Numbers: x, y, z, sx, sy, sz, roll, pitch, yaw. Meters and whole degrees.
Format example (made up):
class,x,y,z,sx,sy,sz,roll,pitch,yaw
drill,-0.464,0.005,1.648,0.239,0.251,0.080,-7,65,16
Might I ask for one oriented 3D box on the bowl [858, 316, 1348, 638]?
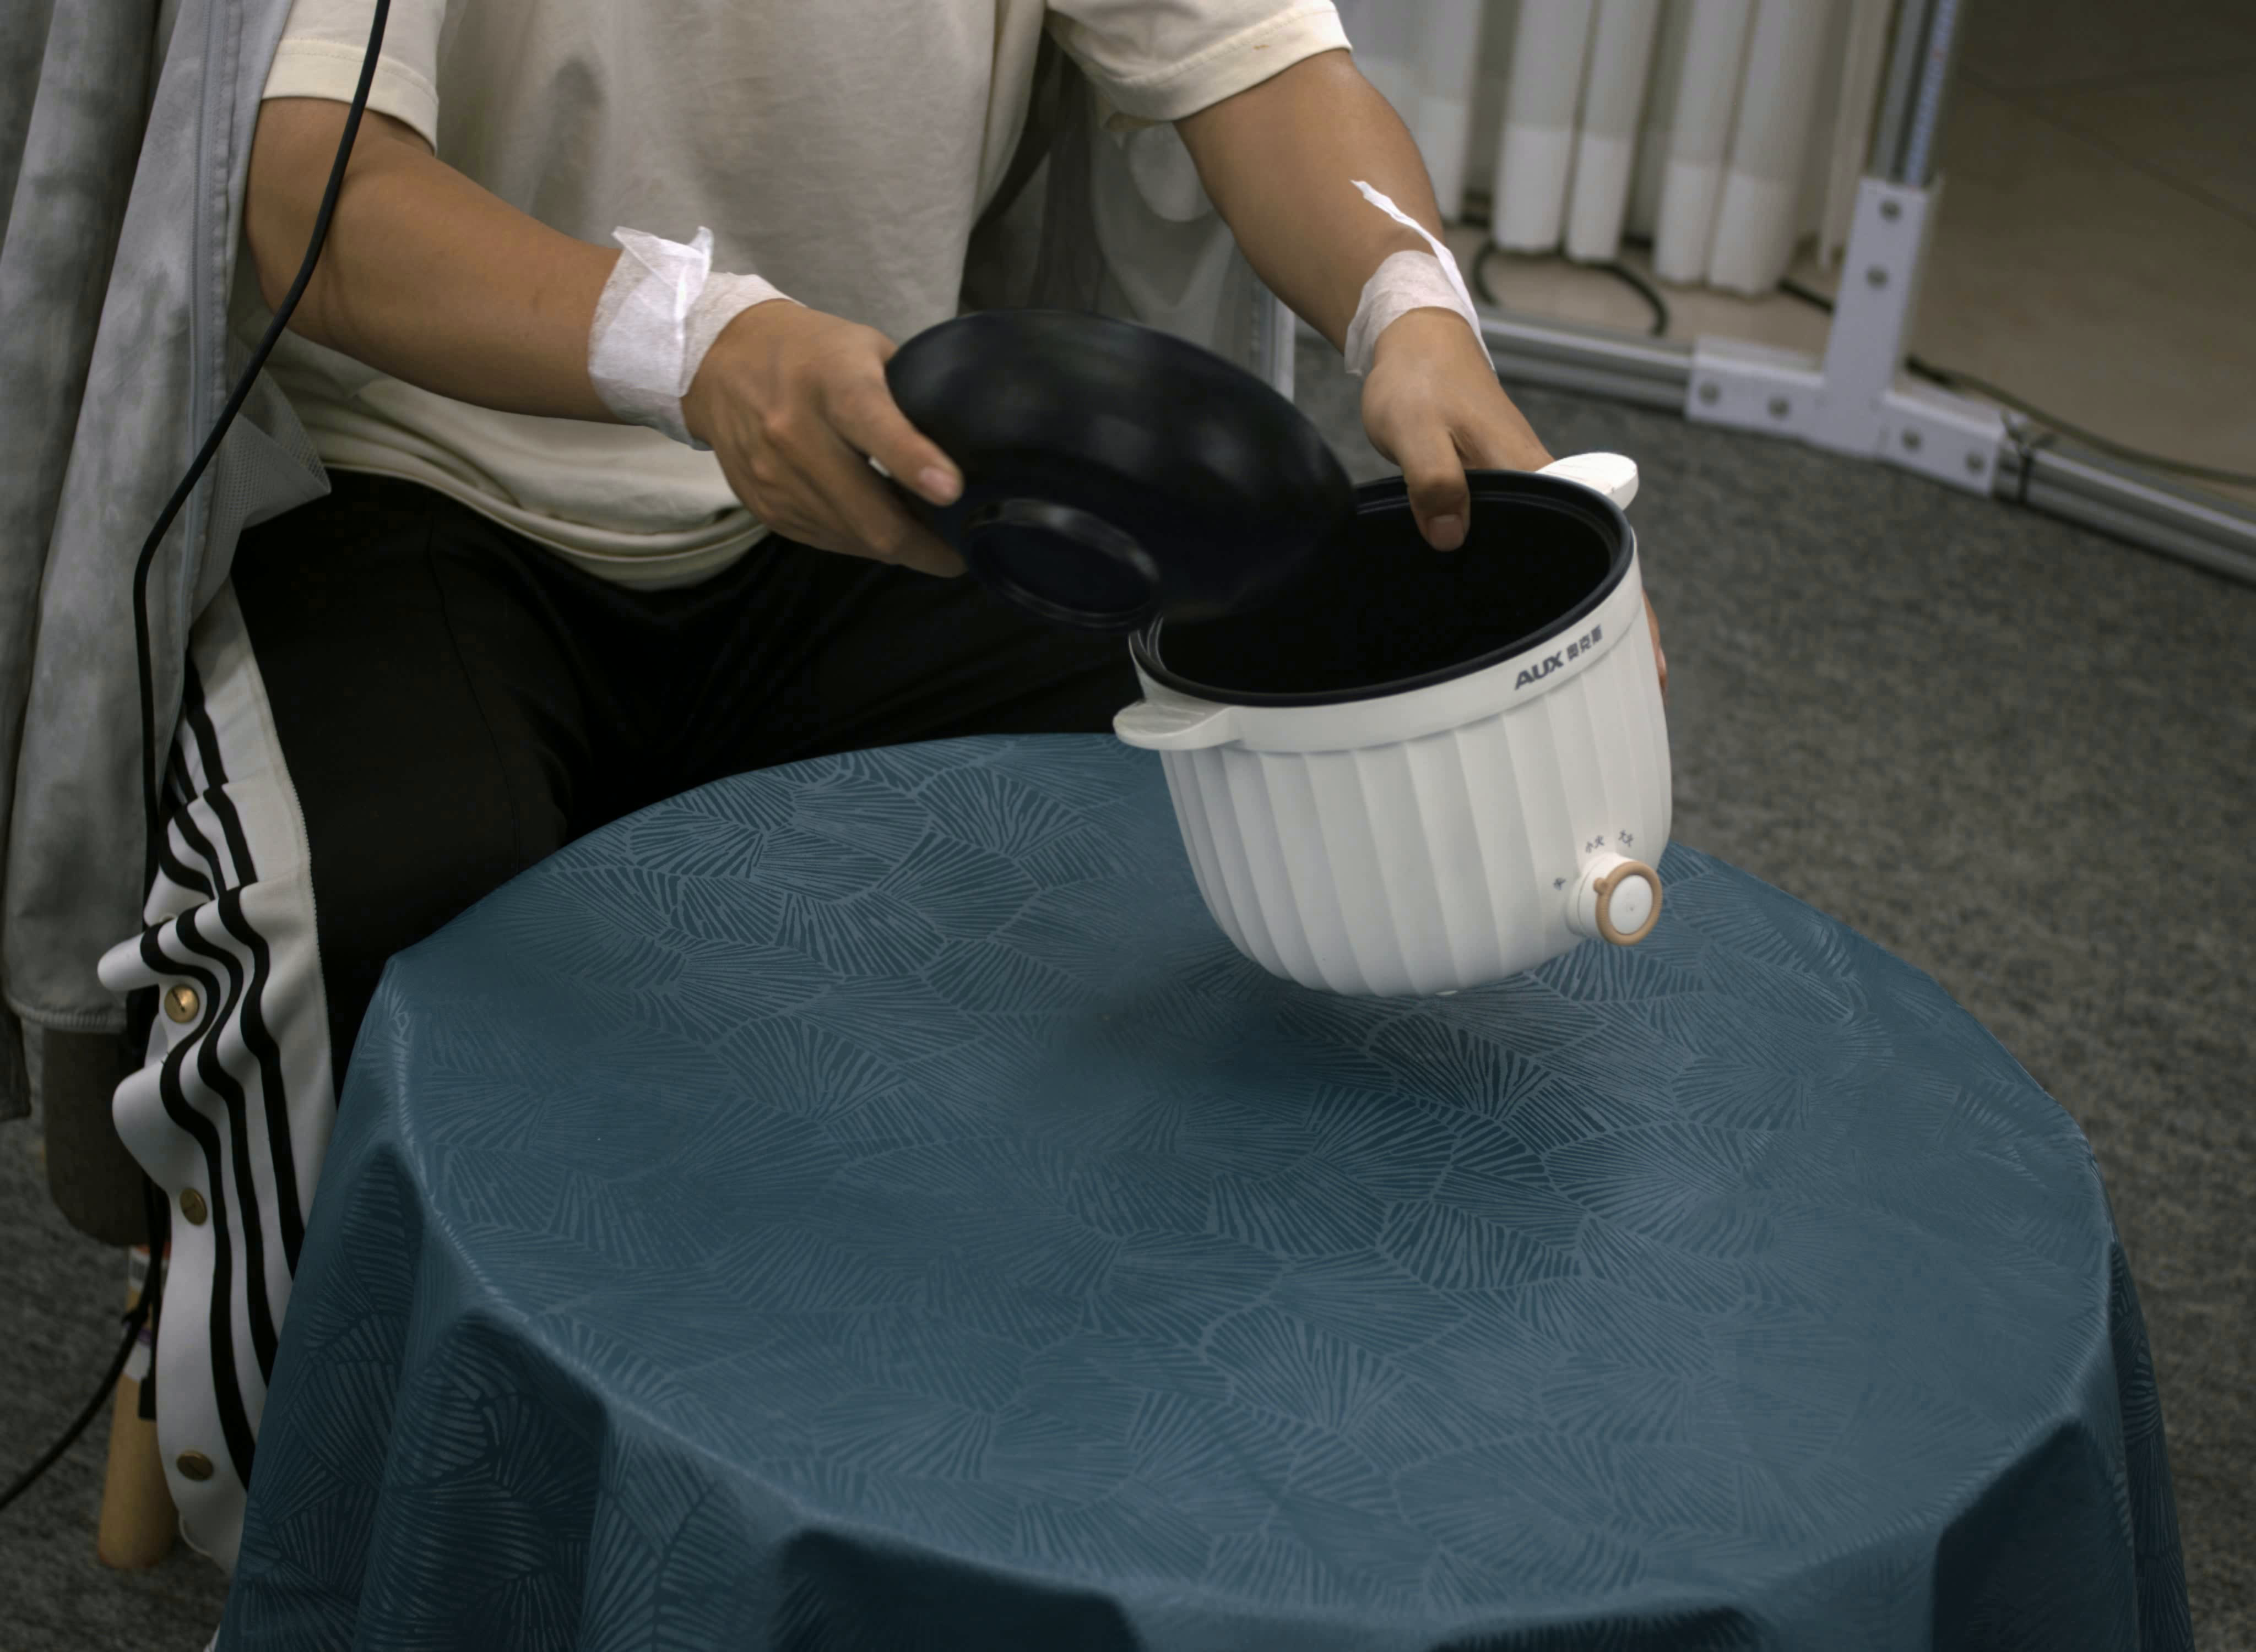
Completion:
class,x,y,z,sx,sy,sz,roll,pitch,yaw
bowl,-0.015,-0.107,1.774,0.170,0.136,0.067,15,65,10

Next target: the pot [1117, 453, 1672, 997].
class,x,y,z,sx,sy,sz,roll,pitch,yaw
pot,0.107,-0.028,1.898,0.240,0.142,0.192,-31,27,-30
